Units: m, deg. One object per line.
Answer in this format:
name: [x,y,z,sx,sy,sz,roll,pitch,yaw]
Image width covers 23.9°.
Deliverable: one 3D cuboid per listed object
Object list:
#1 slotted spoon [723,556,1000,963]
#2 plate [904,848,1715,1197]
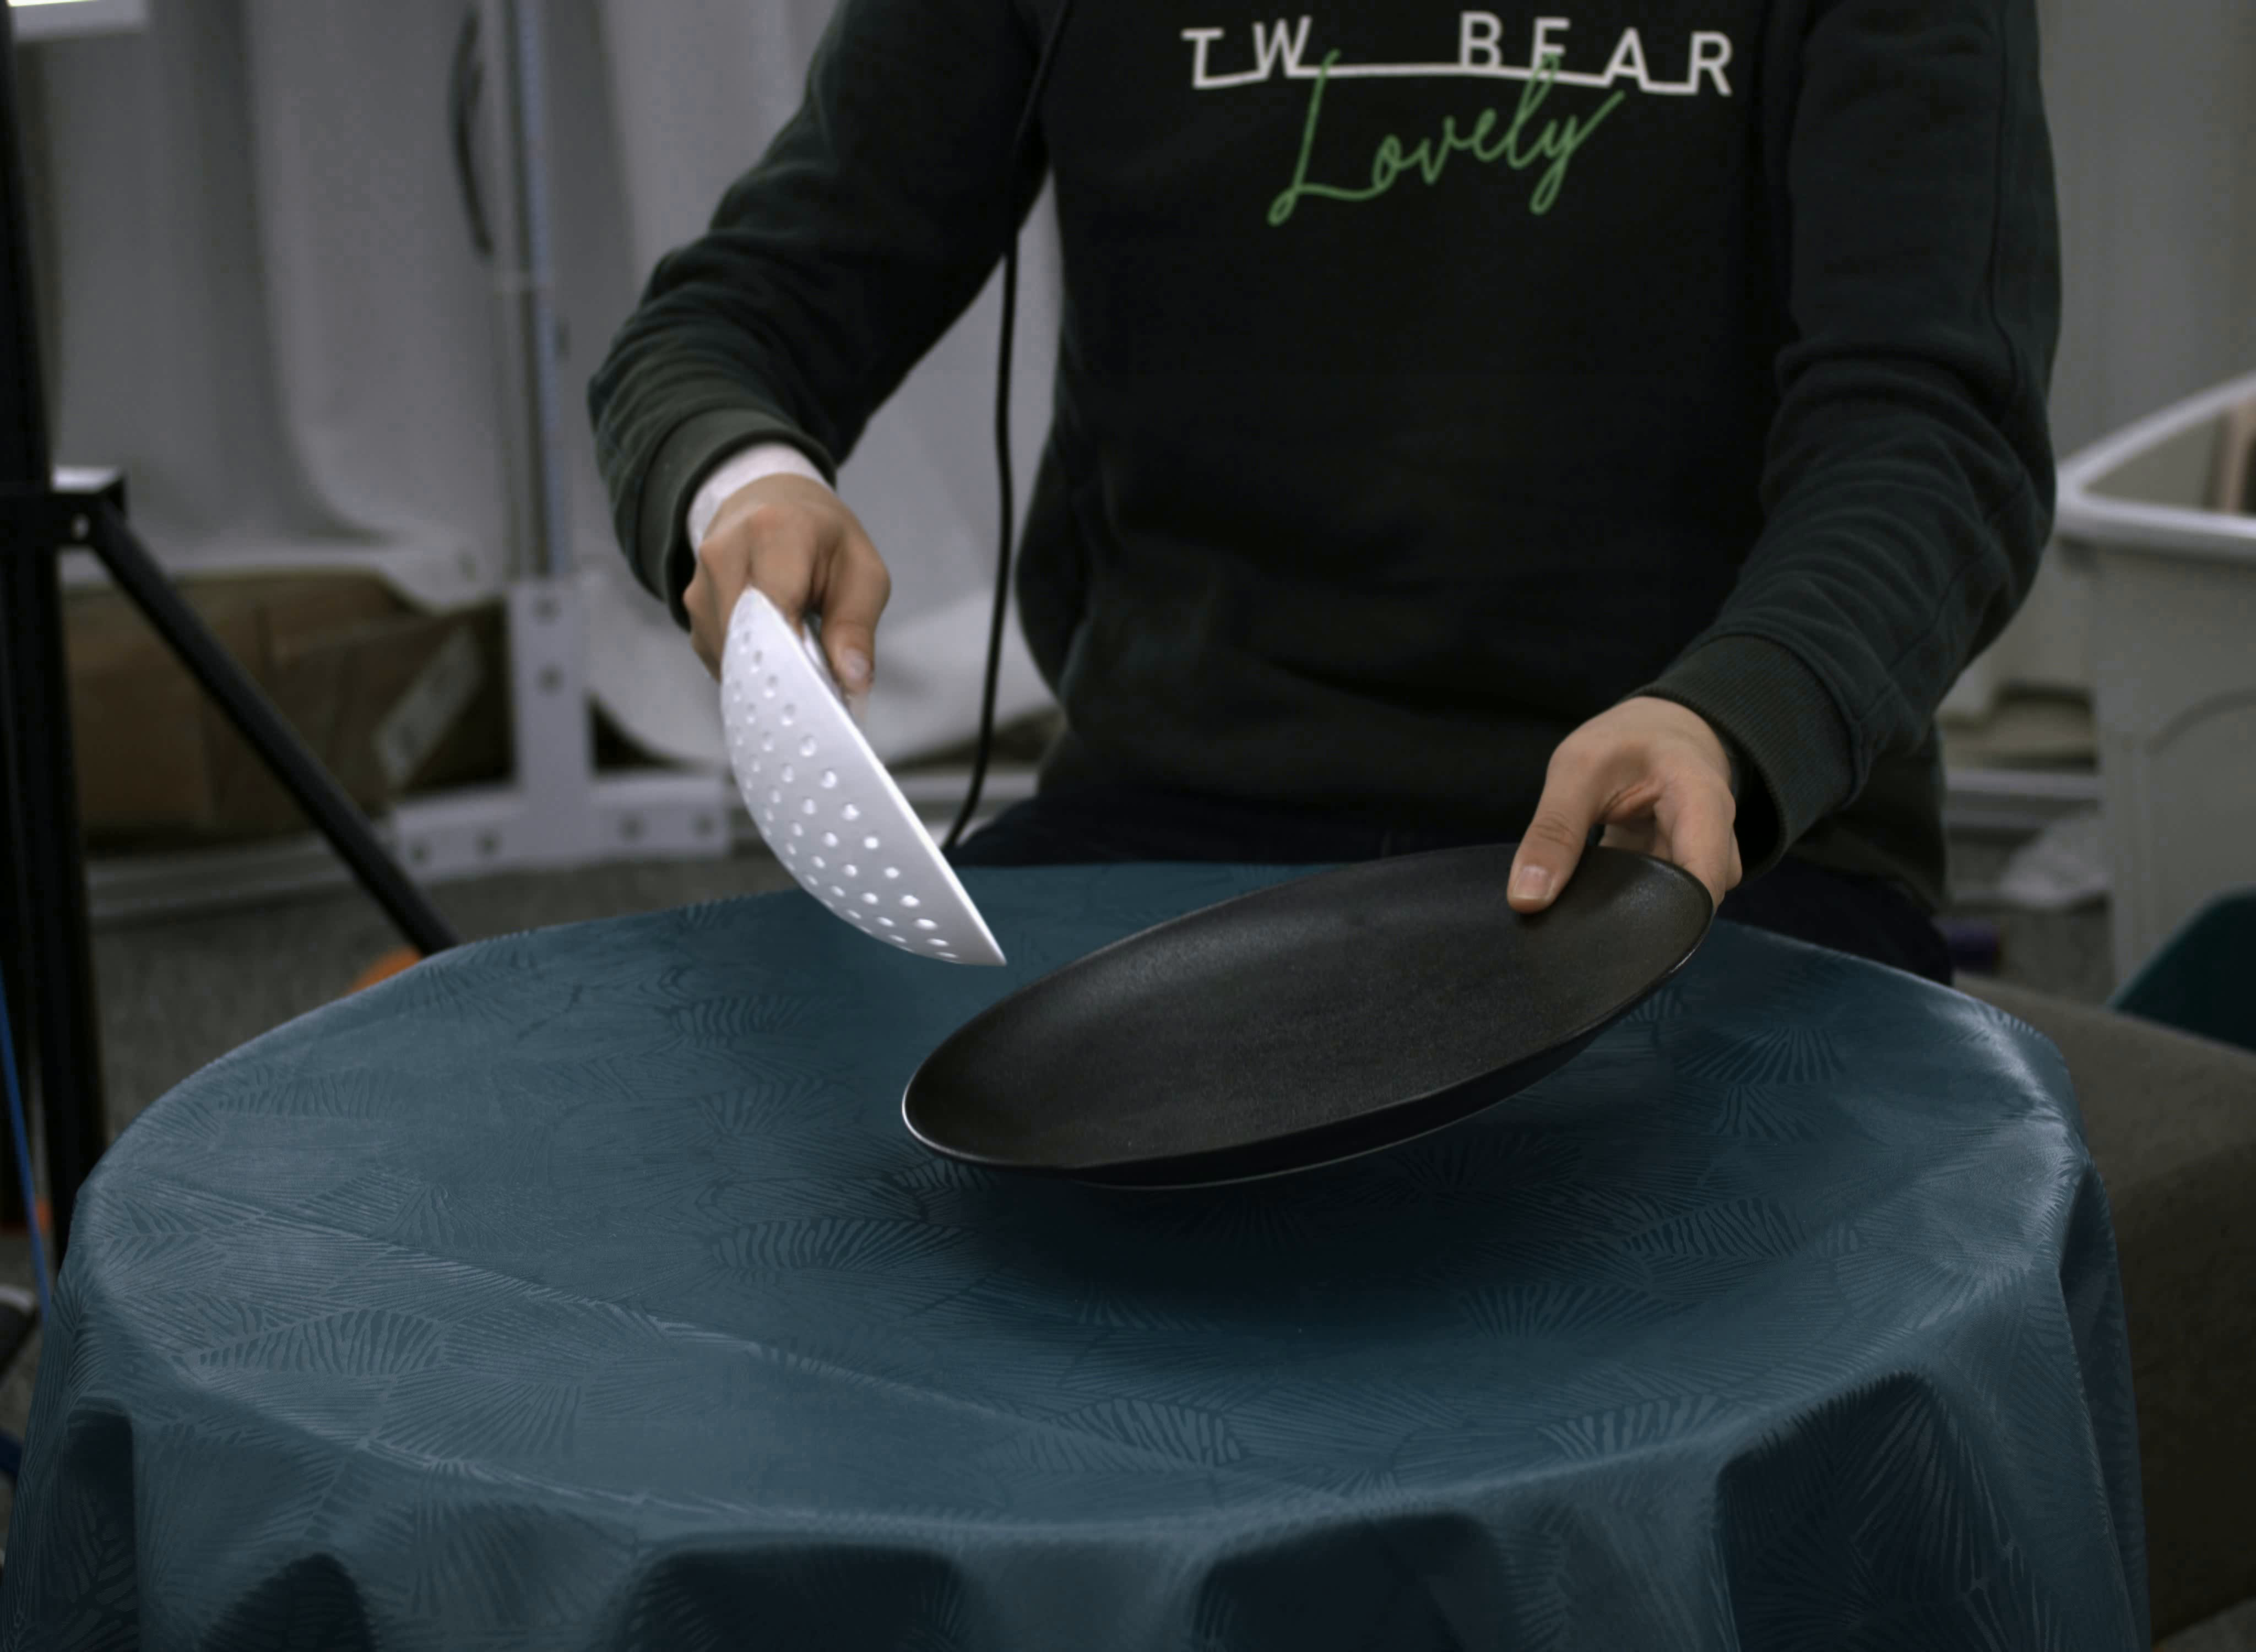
slotted spoon: [-0.092,-0.035,1.647,0.046,0.135,0.351,-30,12,4]
plate: [0.054,0.060,1.543,0.244,0.023,0.245,-16,15,3]
